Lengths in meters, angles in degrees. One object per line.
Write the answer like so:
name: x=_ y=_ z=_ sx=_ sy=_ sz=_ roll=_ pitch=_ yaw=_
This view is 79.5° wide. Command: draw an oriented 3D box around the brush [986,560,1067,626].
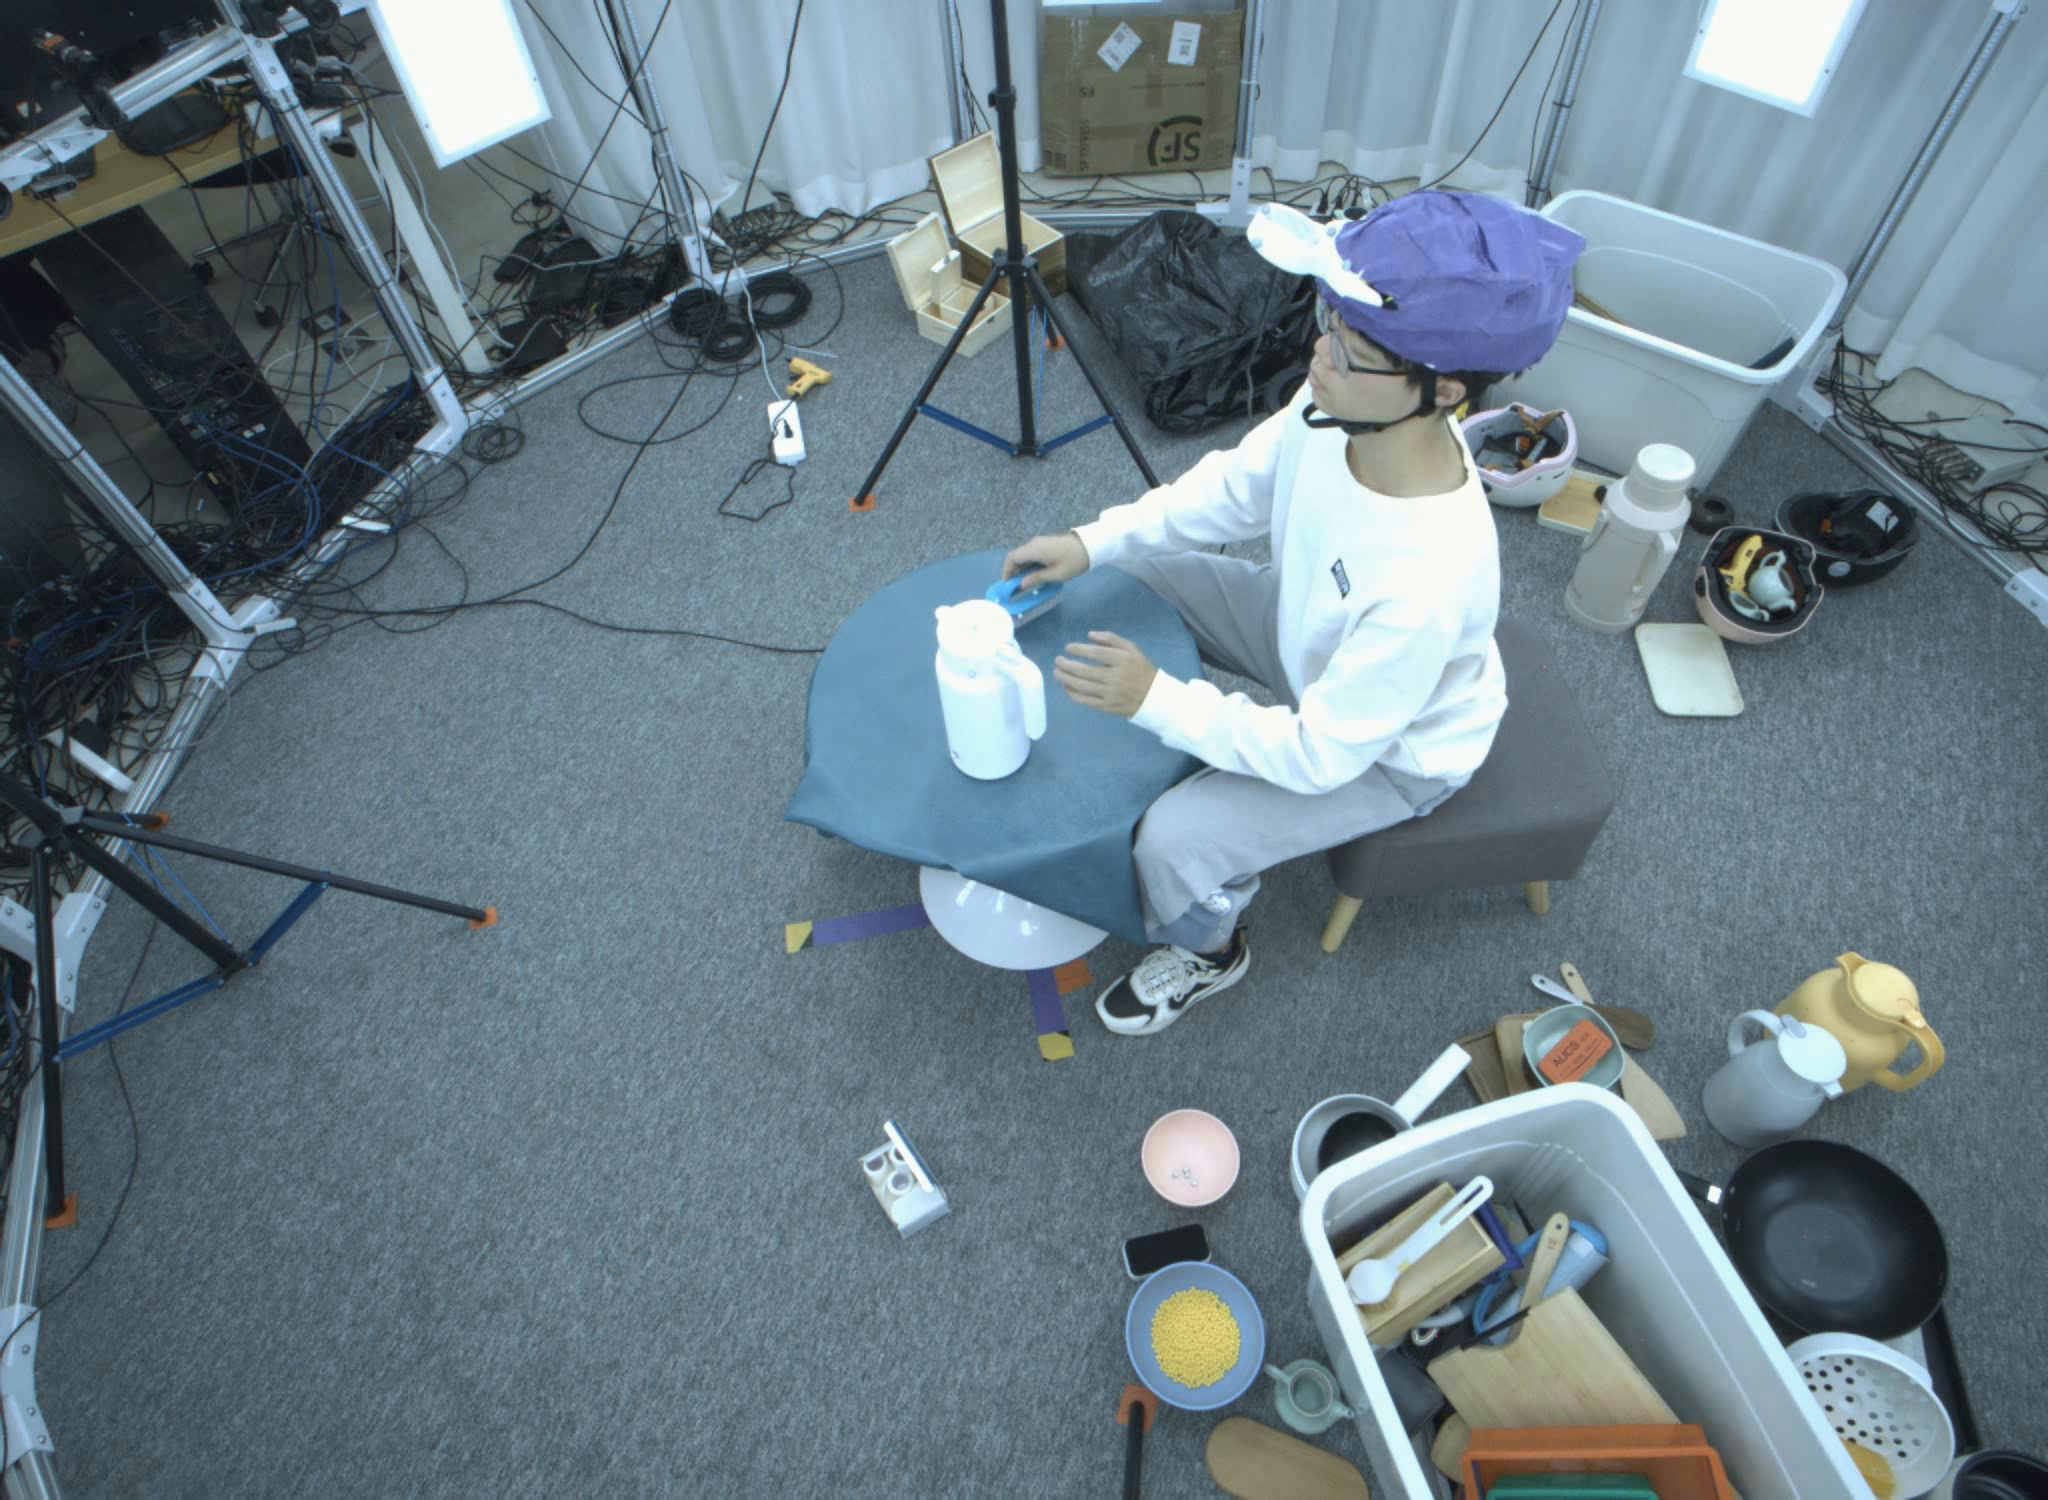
brush: x=0.002 y=-0.254 z=1.894 sx=0.143 sy=0.064 sz=0.083 roll=-32 pitch=59 yaw=-26

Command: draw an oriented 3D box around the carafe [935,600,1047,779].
carafe: x=-0.042 y=-0.071 z=1.672 sx=0.170 sy=0.271 sz=0.124 roll=33 pitch=61 yaw=24
